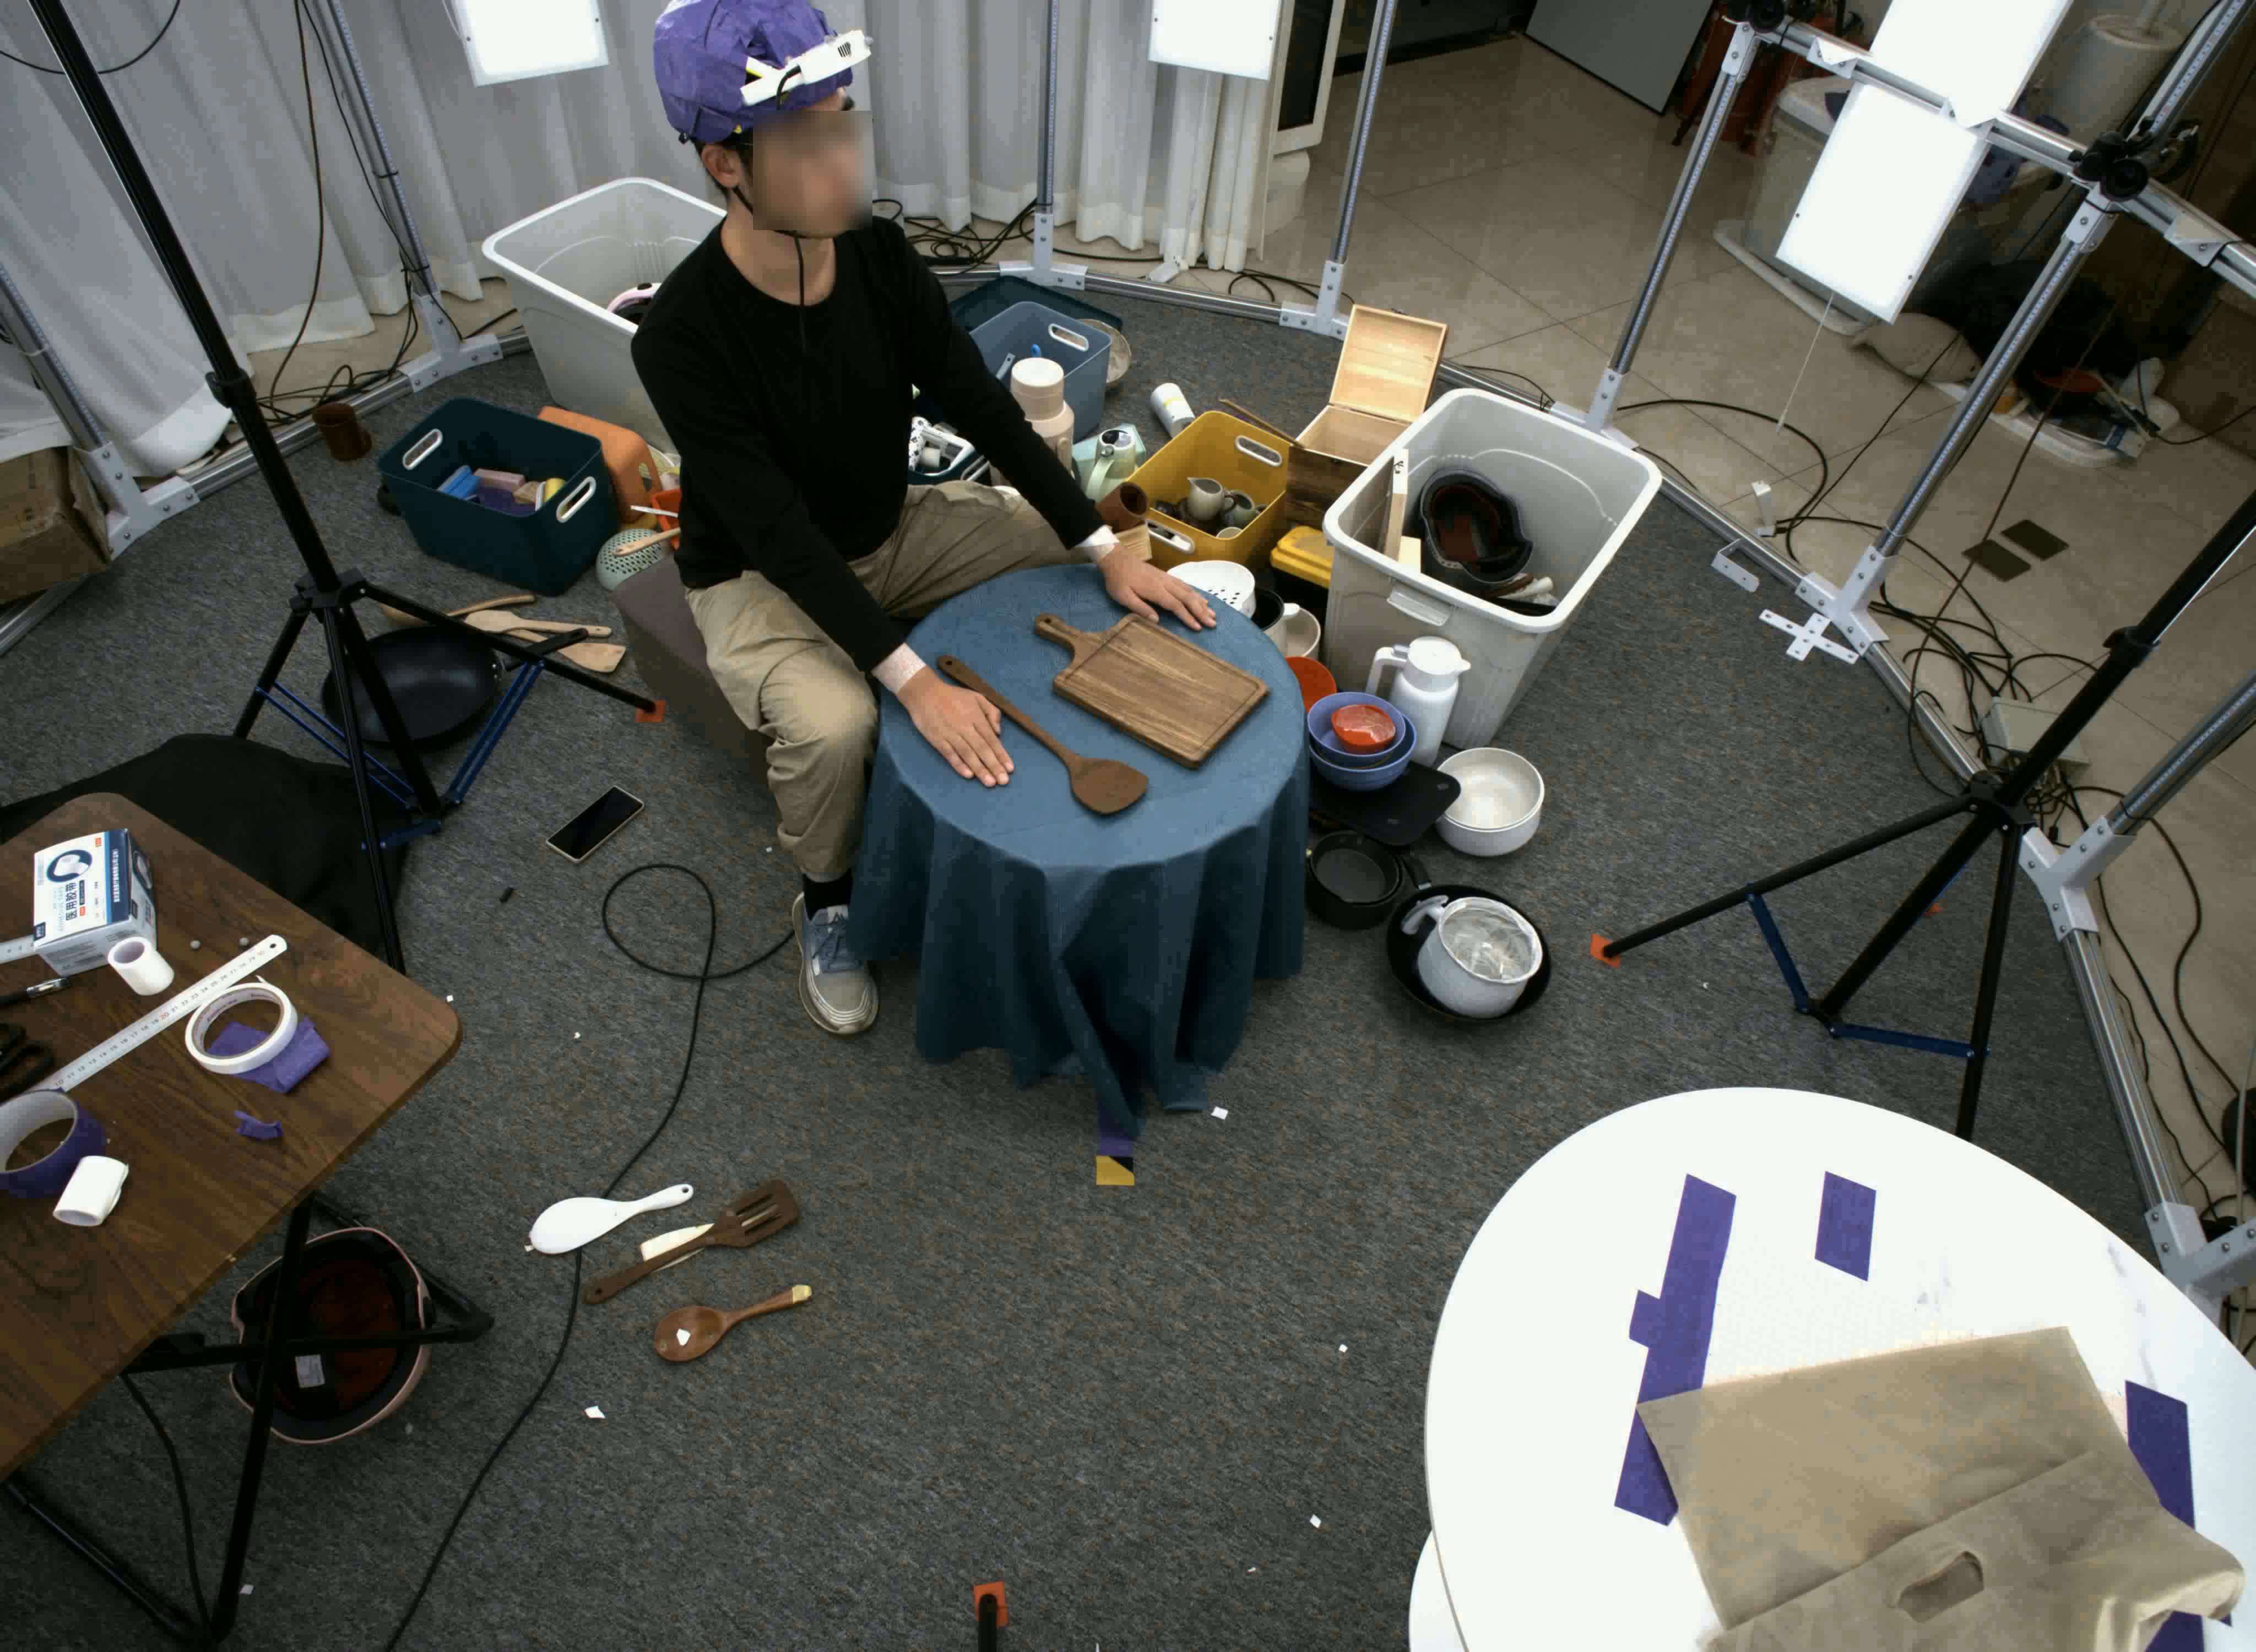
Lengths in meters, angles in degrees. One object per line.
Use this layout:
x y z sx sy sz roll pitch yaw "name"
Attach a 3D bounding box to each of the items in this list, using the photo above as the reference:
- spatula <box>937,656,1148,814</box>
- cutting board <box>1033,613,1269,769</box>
-0.134 -0.137 1.770 0.391 0.015 0.097 38 56 26 "spatula"
0.008 -0.223 1.850 0.356 0.022 0.204 30 54 21 "cutting board"
